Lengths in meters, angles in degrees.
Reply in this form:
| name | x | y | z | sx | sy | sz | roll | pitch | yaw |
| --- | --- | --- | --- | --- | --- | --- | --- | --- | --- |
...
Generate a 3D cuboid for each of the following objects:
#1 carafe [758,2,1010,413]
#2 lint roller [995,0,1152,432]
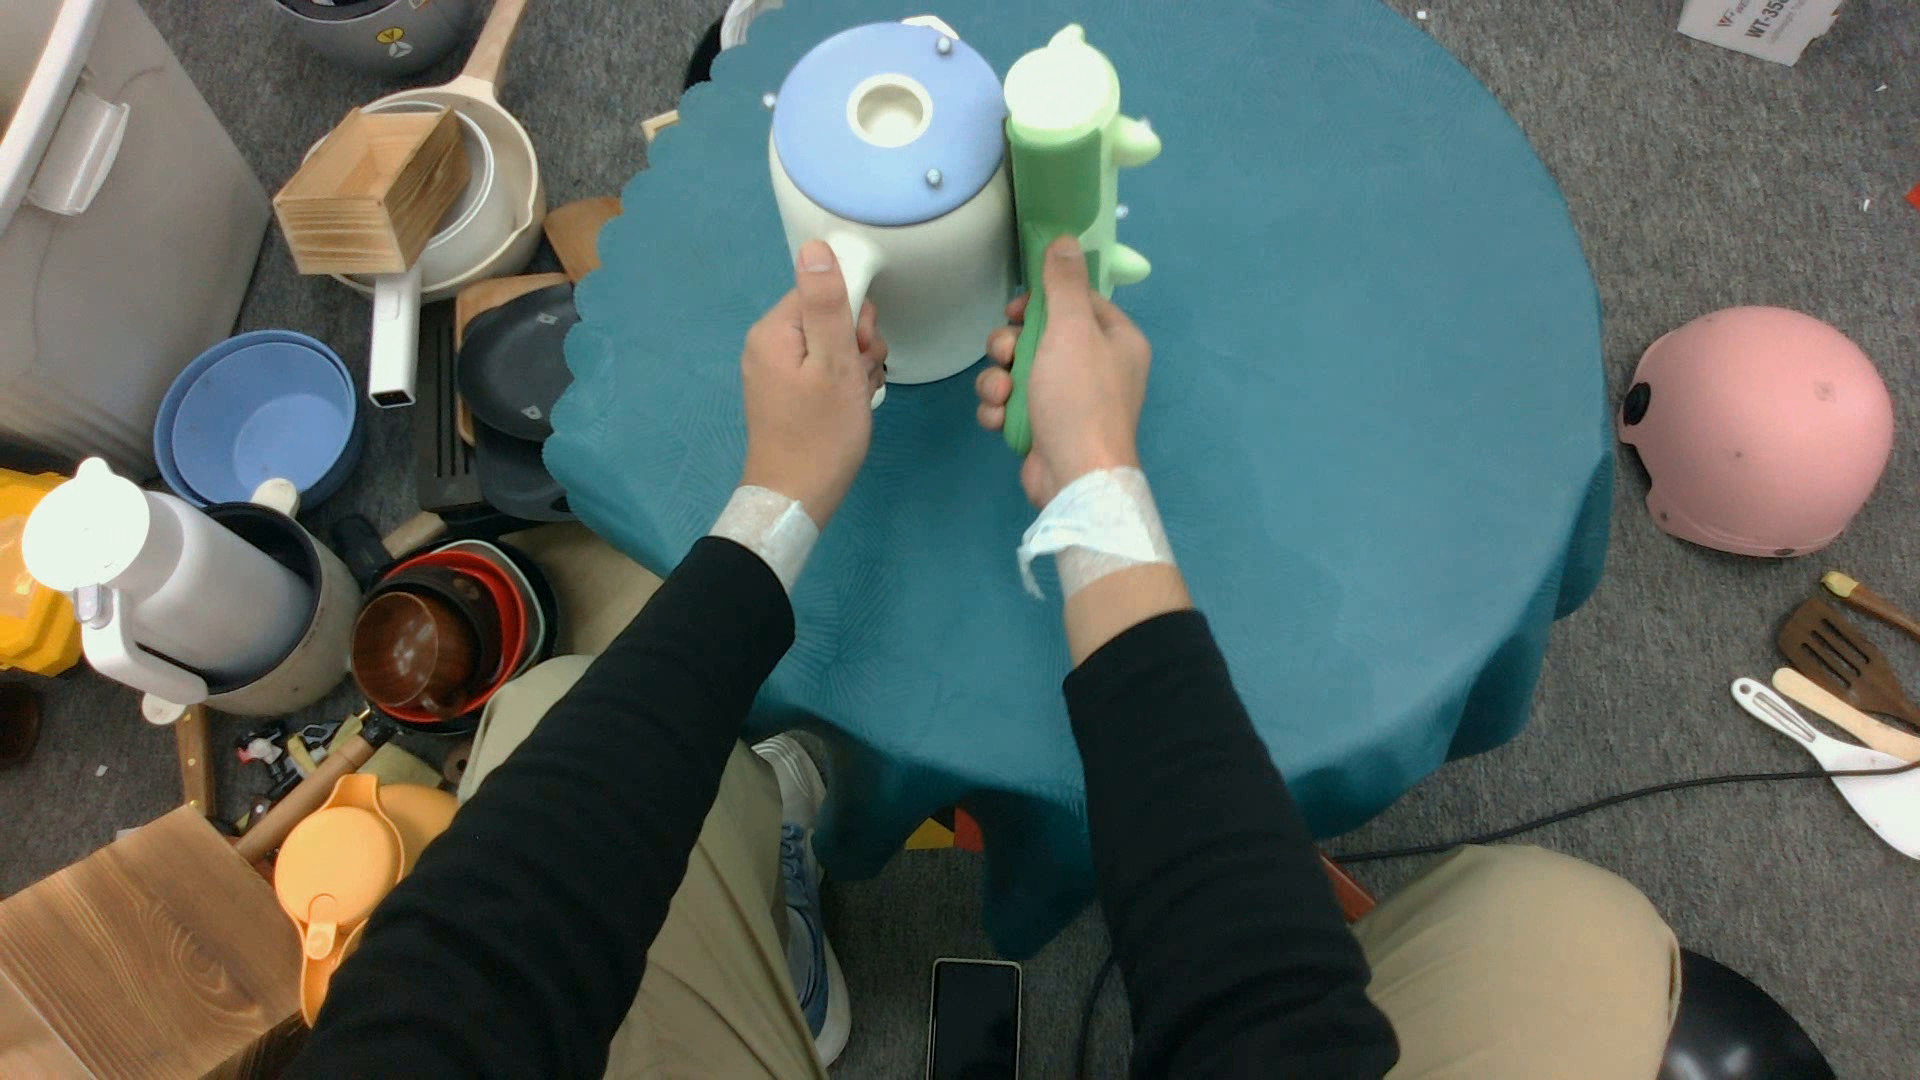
| name | x | y | z | sx | sy | sz | roll | pitch | yaw |
| --- | --- | --- | --- | --- | --- | --- | --- | --- | --- |
| carafe | -0.045 | -0.166 | 0.755 | 0.132 | 0.182 | 0.191 | 14 | 73 | 6 |
| lint roller | 0.057 | -0.142 | 0.705 | 0.082 | 0.198 | 0.184 | -2 | 71 | 4 |
